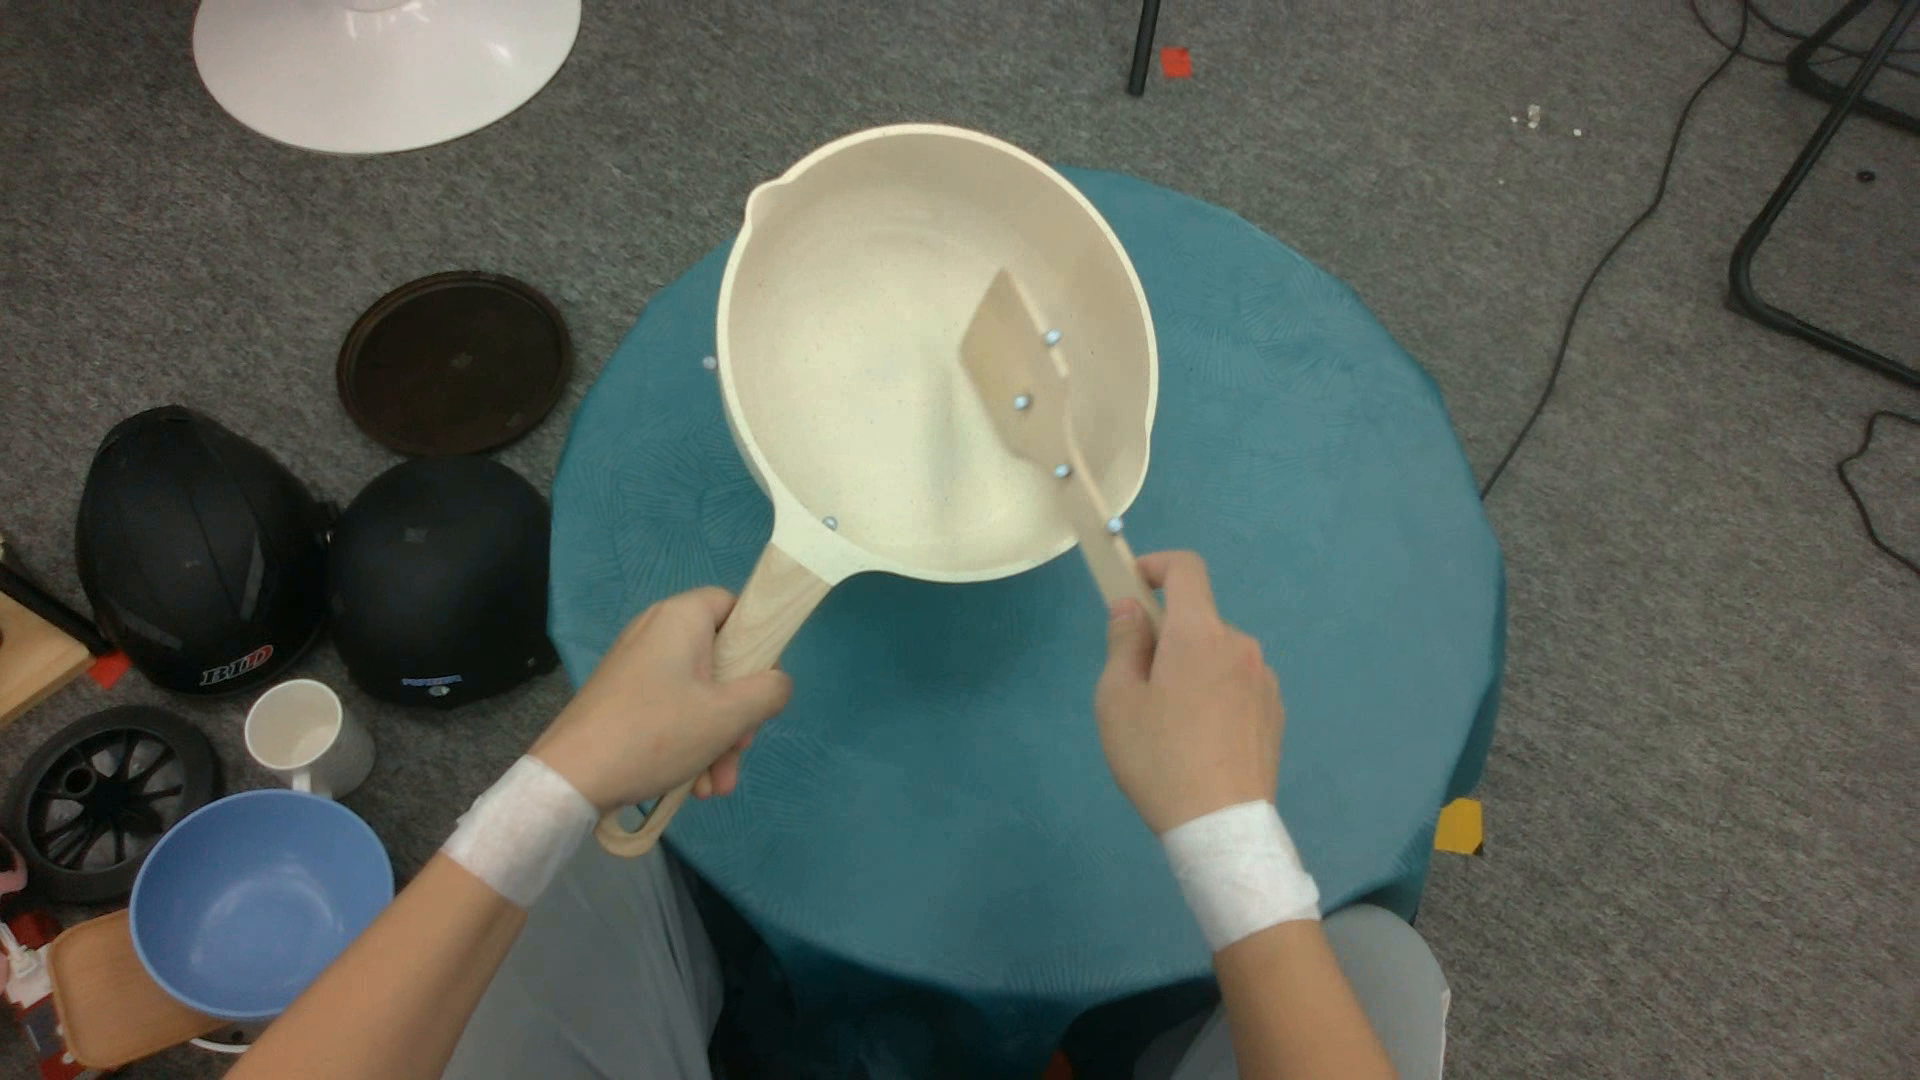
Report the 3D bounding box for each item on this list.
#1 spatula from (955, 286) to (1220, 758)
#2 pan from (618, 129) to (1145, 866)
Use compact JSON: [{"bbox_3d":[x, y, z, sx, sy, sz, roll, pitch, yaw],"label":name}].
[{"bbox_3d":[0.065,-0.014,0.730,0.011,0.072,0.294,-5,53,-31],"label":"spatula"},{"bbox_3d":[-0.066,-0.024,0.757,0.263,0.101,0.436,35,73,-13],"label":"pan"}]
